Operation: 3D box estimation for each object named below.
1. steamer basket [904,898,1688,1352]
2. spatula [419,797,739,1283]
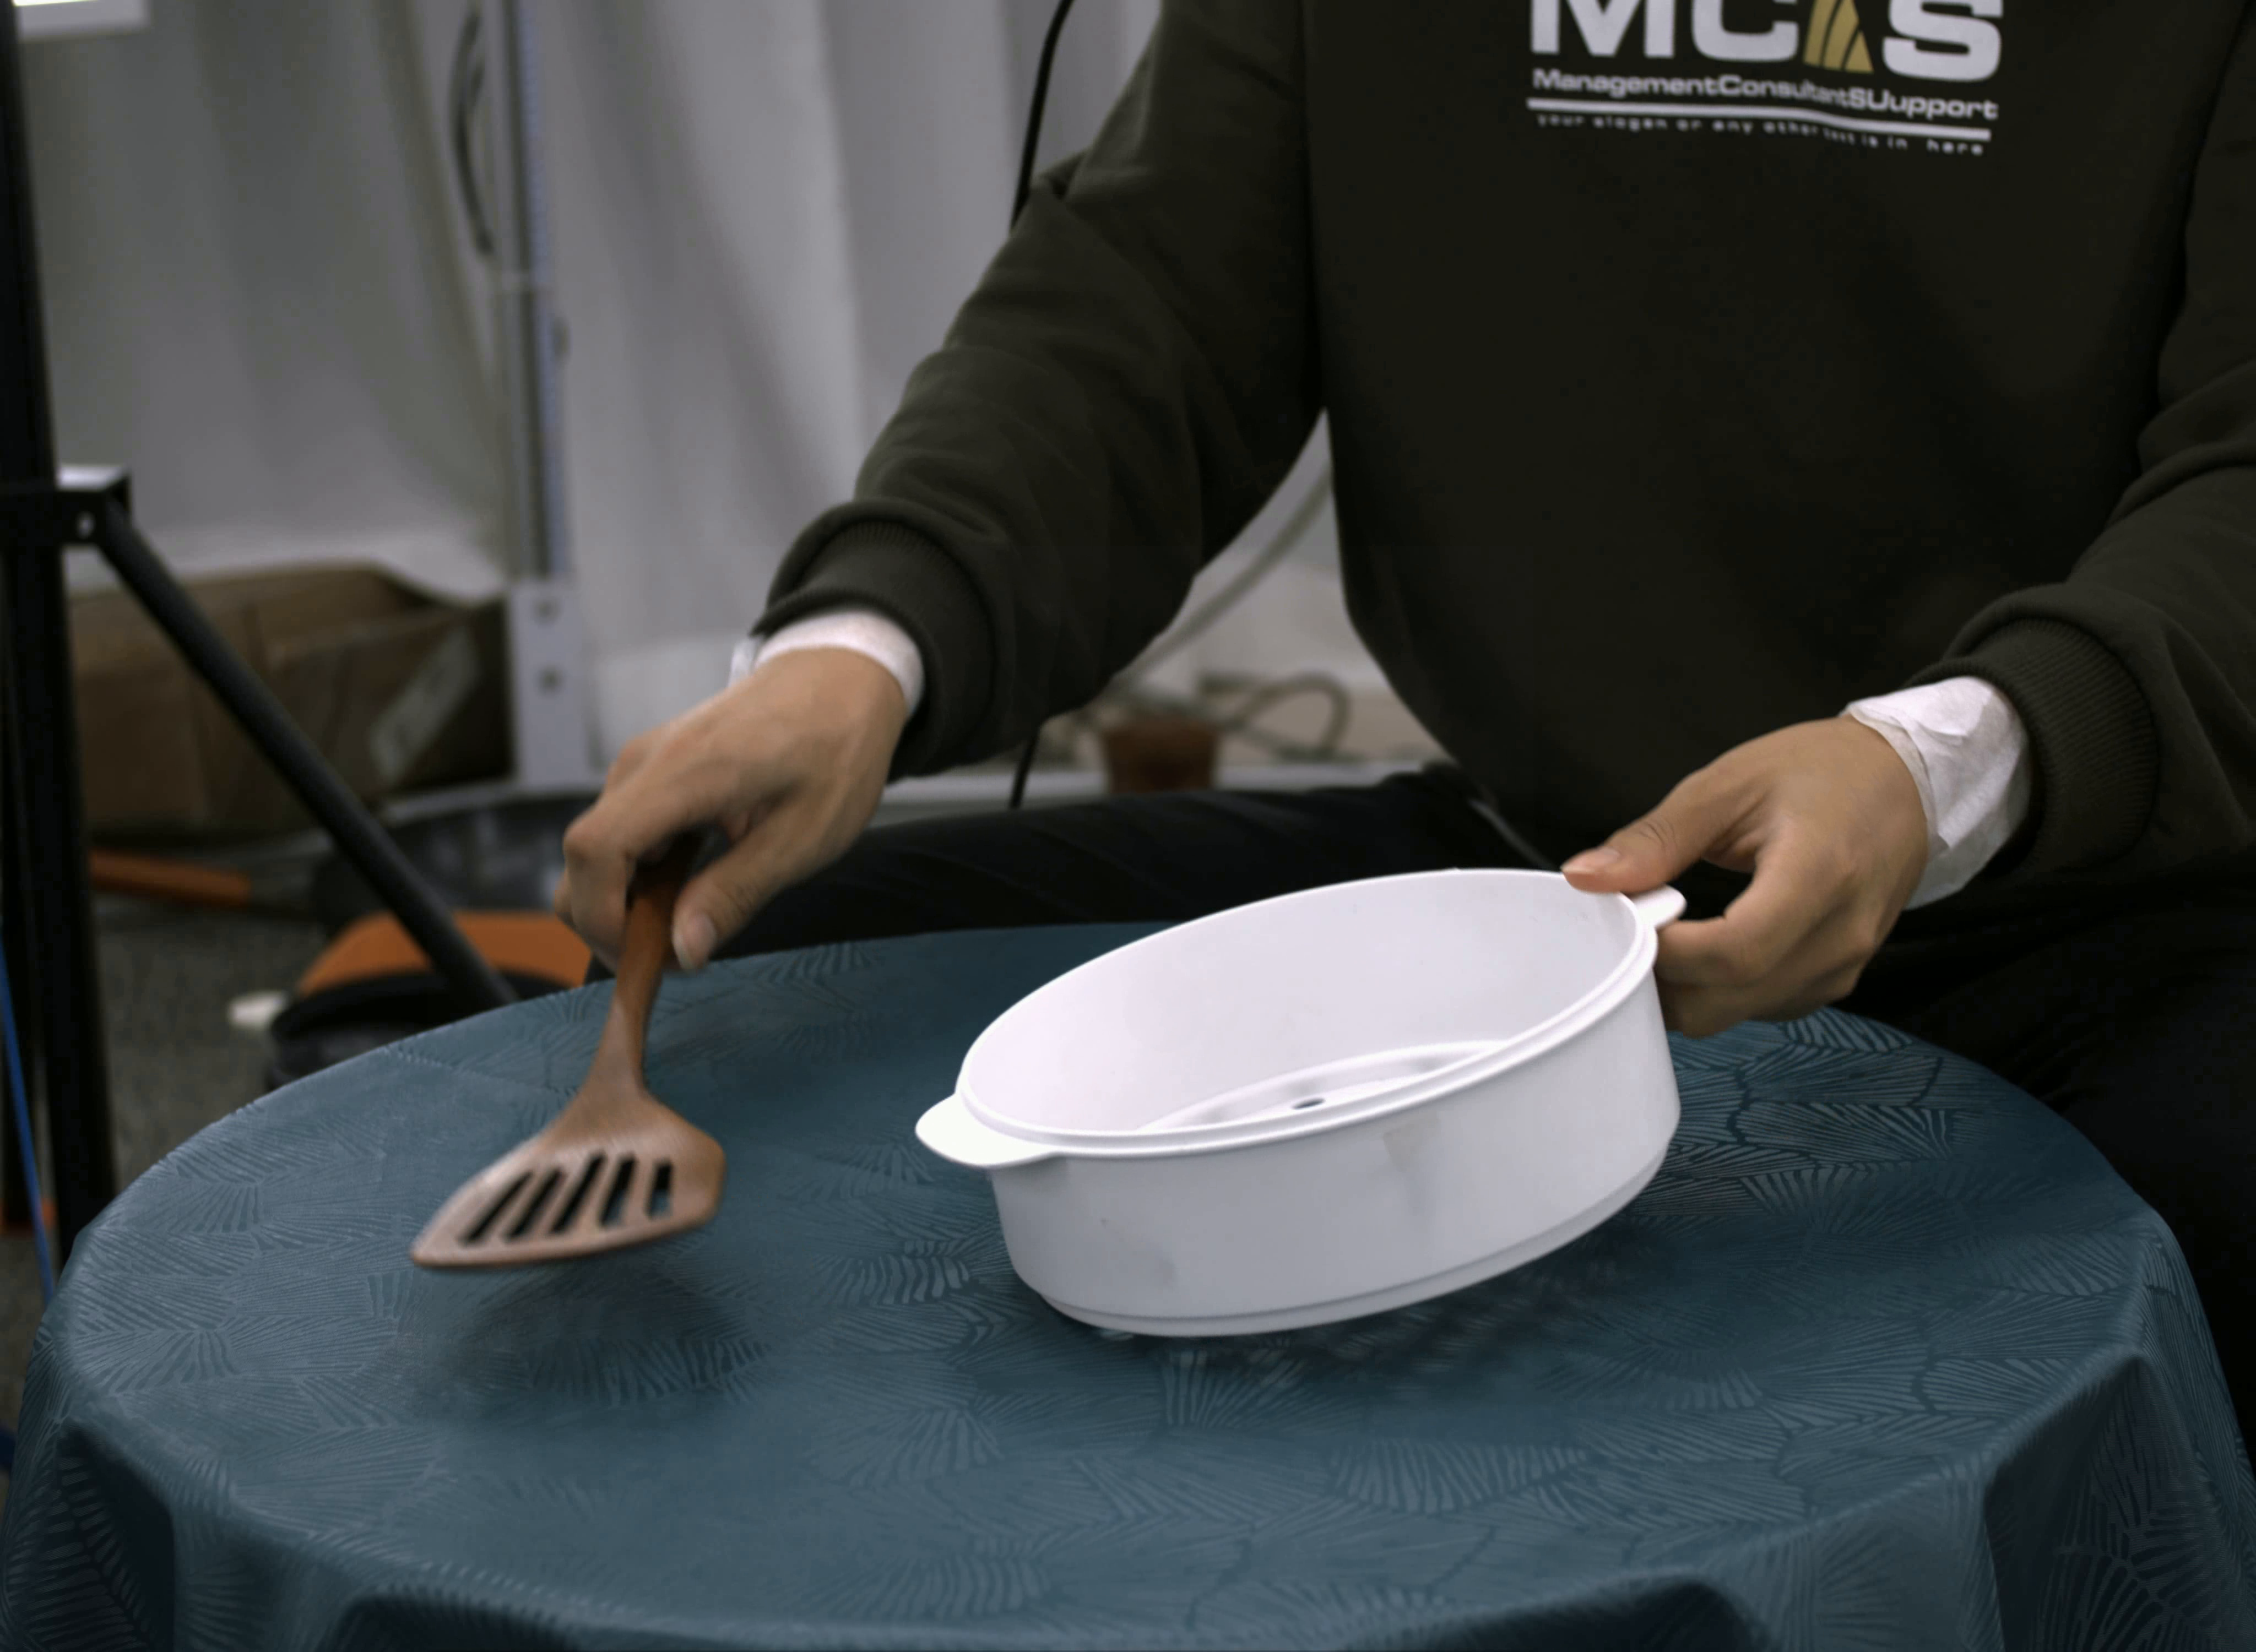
[{"bbox_3d":[0.052,0.084,1.486,0.227,0.069,0.205,-15,17,-19],"label":"steamer basket"},{"bbox_3d":[-0.148,0.061,1.603,0.086,0.023,0.387,-9,20,4],"label":"spatula"}]
